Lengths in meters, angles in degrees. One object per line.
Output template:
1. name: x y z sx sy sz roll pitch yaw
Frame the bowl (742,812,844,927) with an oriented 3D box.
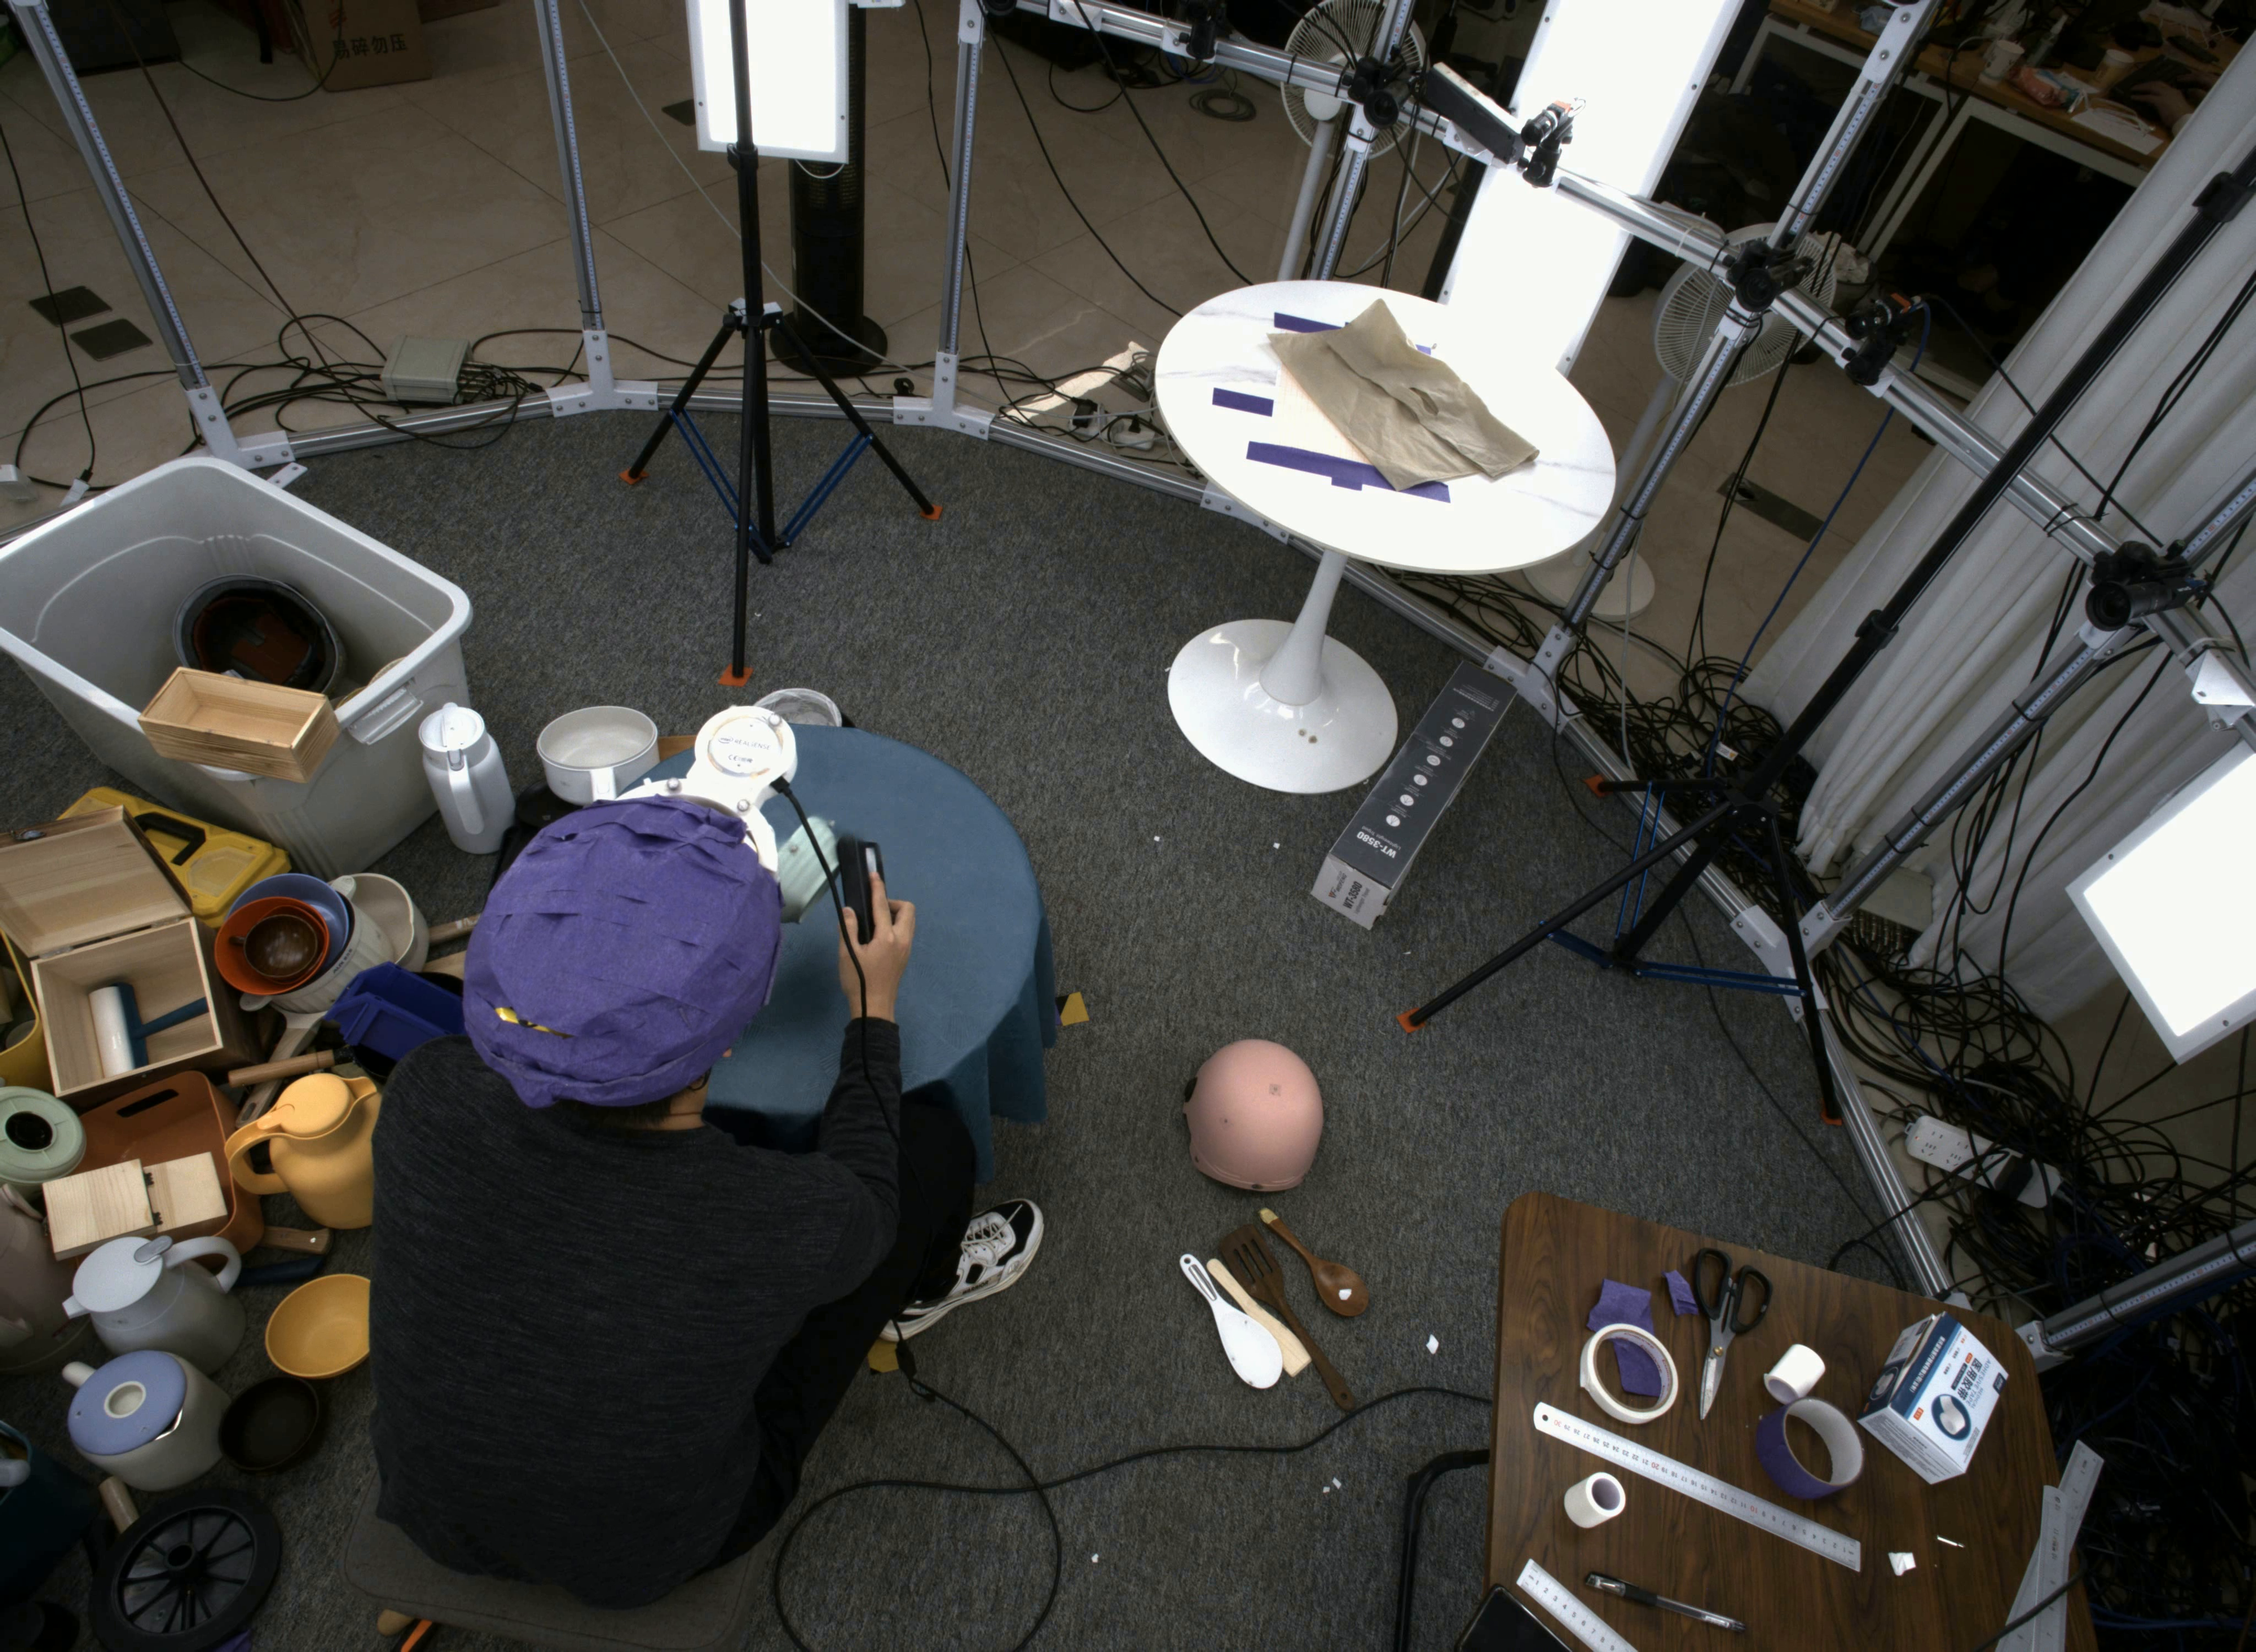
1. bowl: -0.376 0.060 1.491 0.059 0.152 0.151 37 52 -1

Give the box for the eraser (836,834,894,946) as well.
1. eraser: -0.301 0.072 1.487 0.030 0.054 0.126 -13 81 25
